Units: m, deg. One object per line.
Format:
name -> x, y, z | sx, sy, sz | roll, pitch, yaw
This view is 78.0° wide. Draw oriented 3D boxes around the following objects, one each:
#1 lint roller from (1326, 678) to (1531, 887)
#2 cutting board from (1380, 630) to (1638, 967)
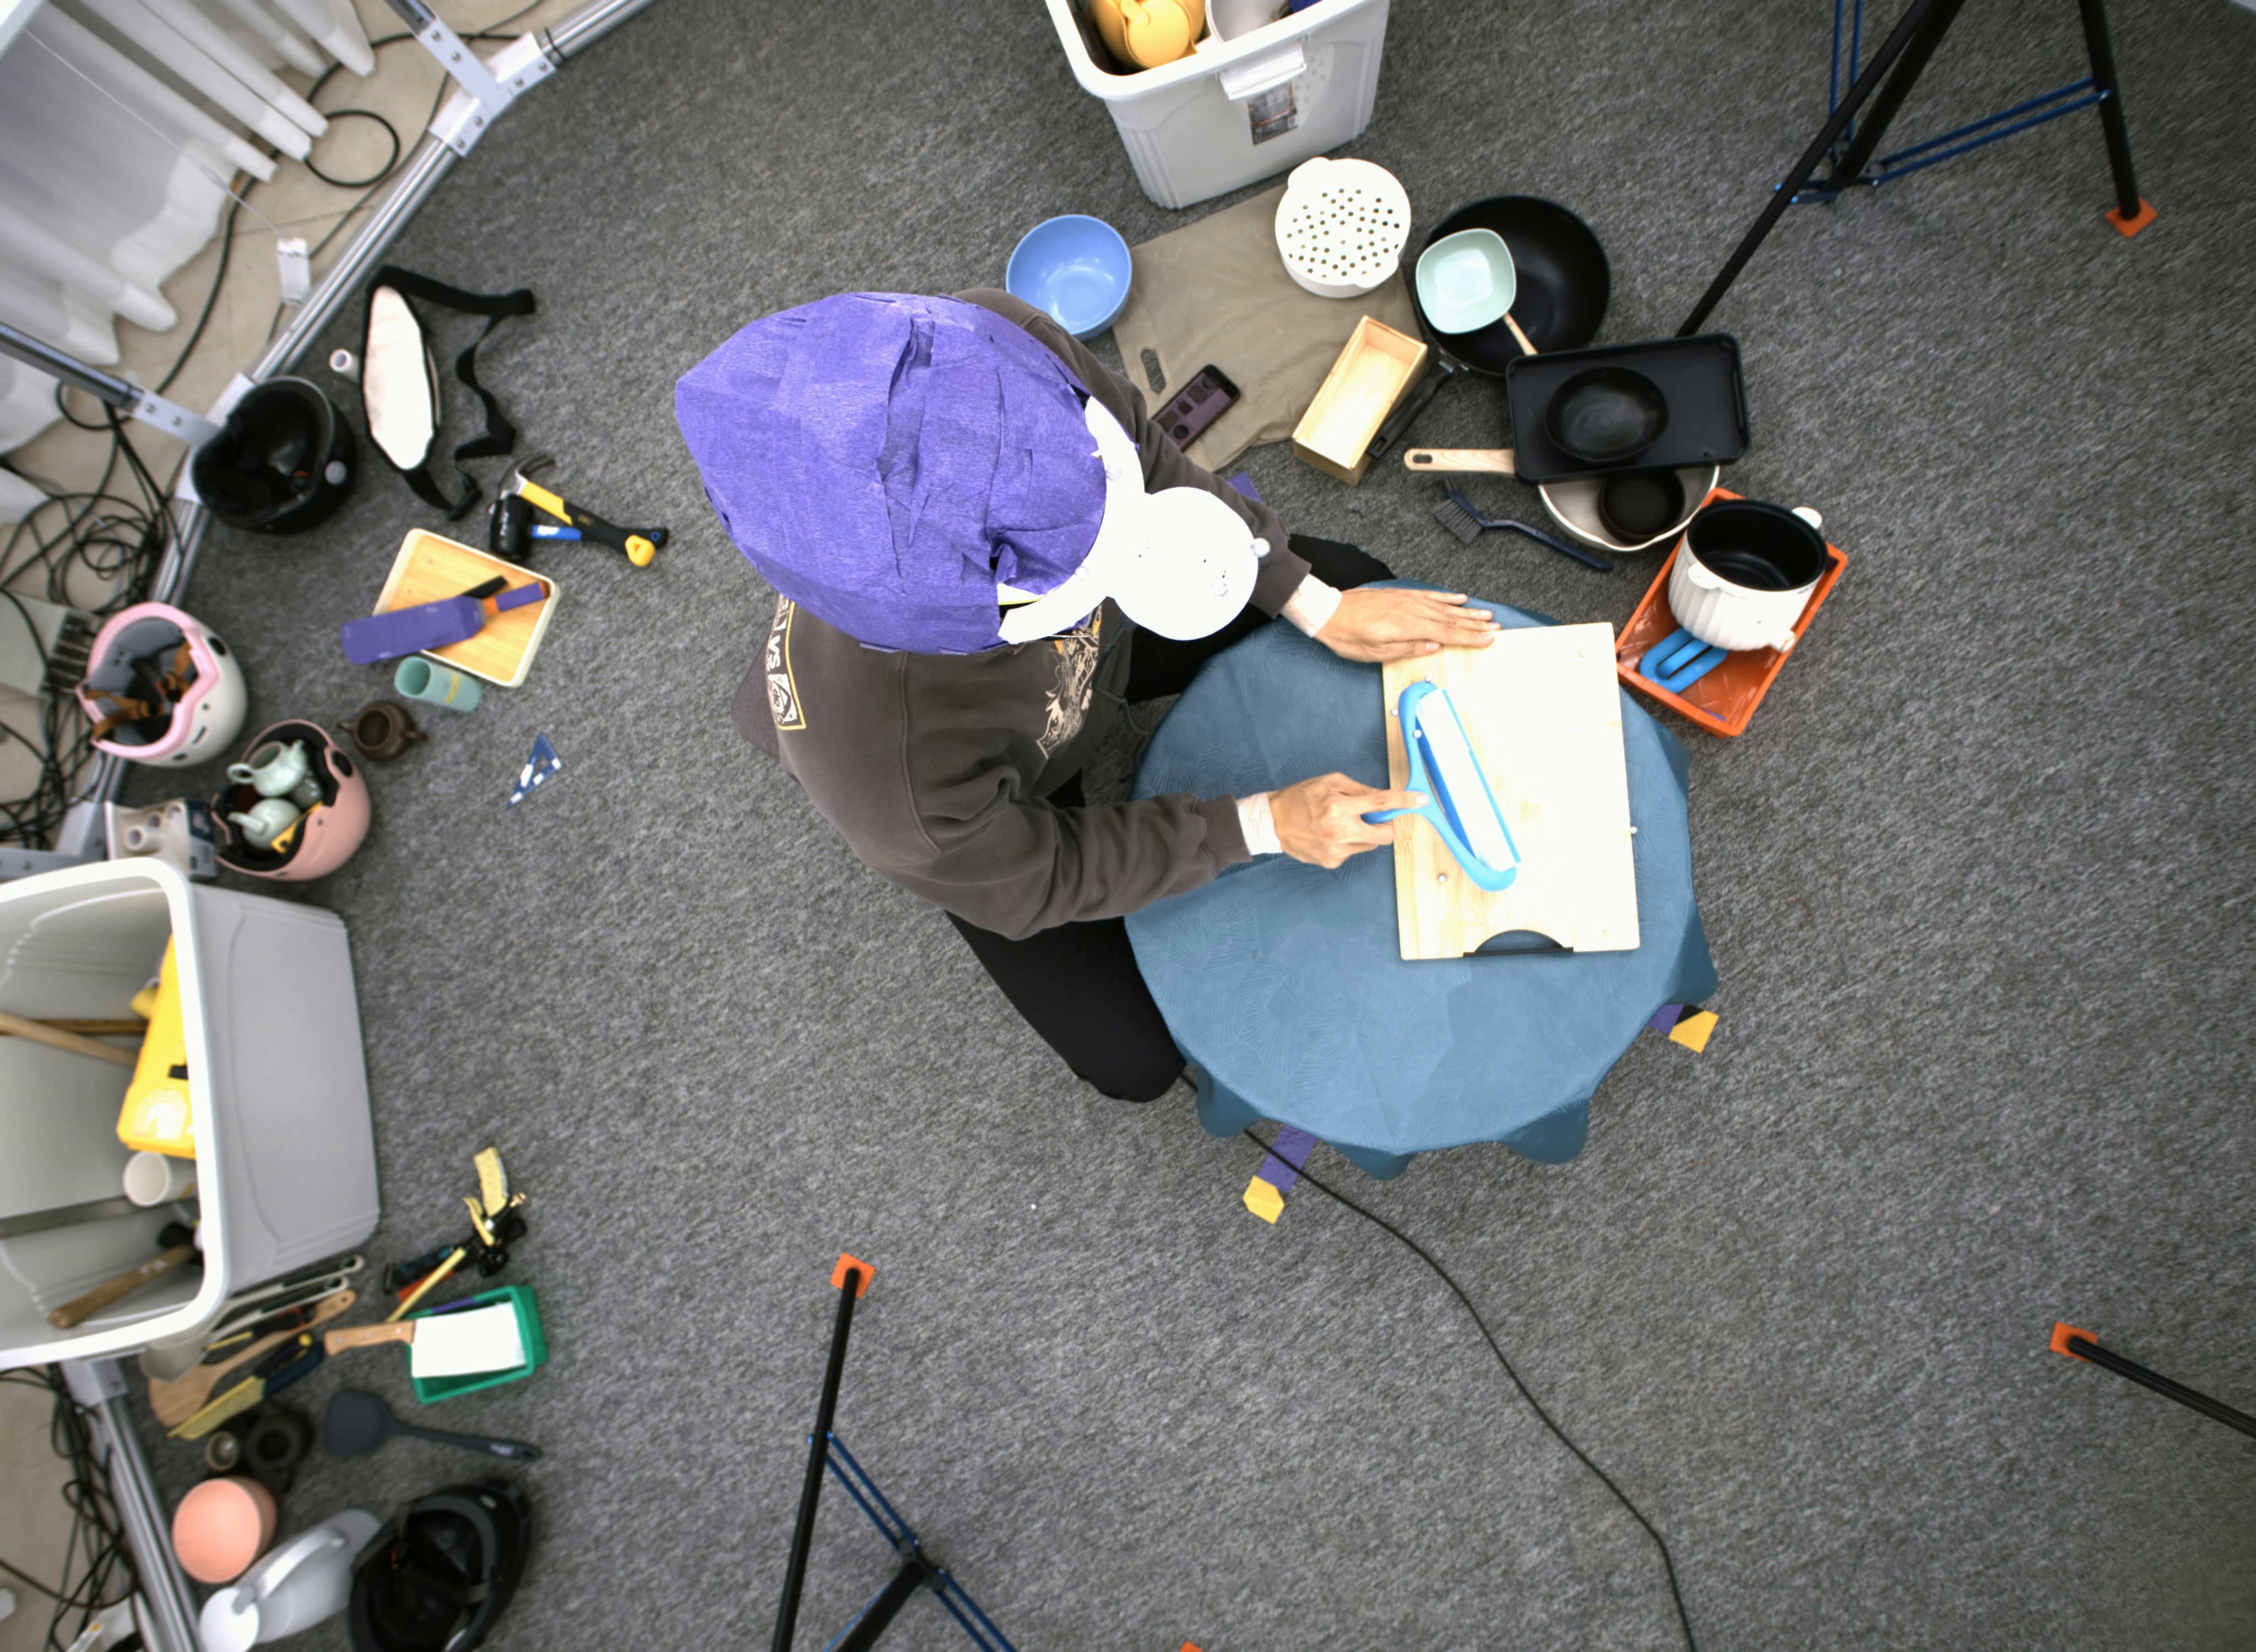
lint roller -> 0.287, -0.023, 1.374 | 0.179, 0.068, 0.228 | -25, 86, -11
cutting board -> 0.394, -0.033, 1.432 | 0.252, 0.023, 0.347 | -4, 86, 11
